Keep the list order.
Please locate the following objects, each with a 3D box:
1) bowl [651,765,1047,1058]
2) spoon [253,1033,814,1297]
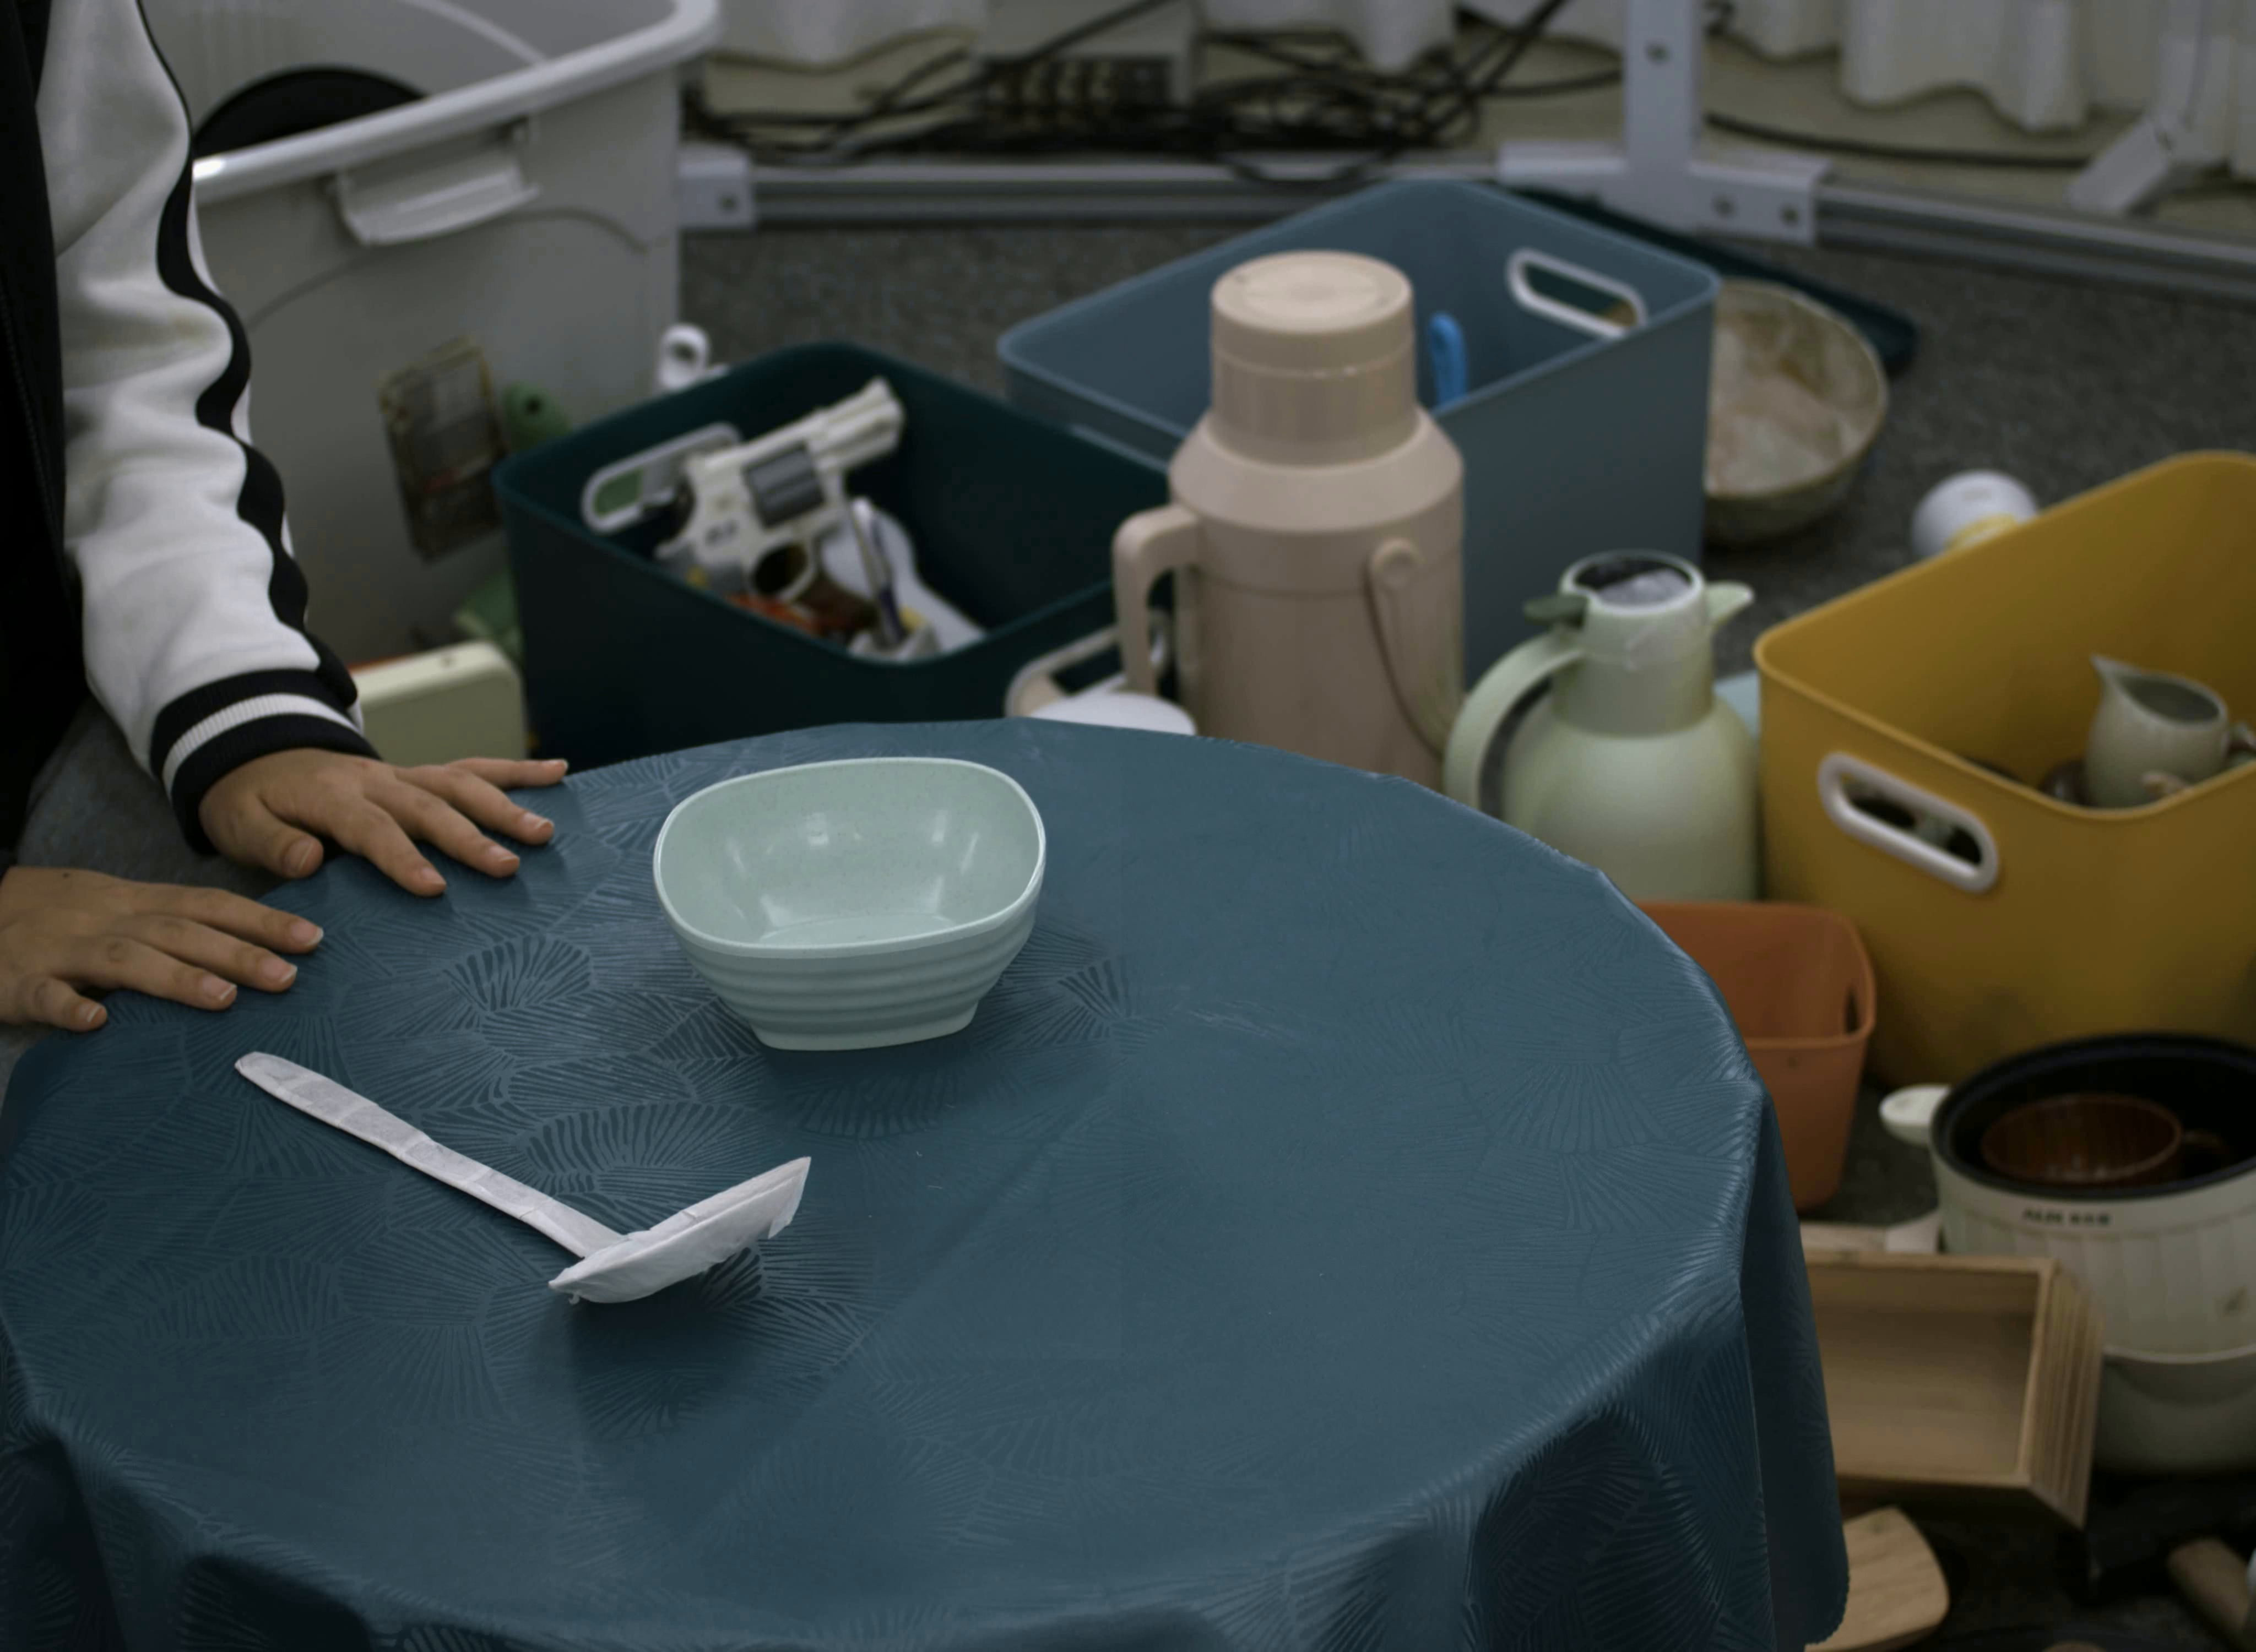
[{"bbox_3d":[-0.096,0.036,1.980,0.151,0.058,0.154,-2,27,1],"label":"bowl"},{"bbox_3d":[-0.208,0.096,1.871,0.101,0.059,0.277,-19,31,-38],"label":"spoon"}]
